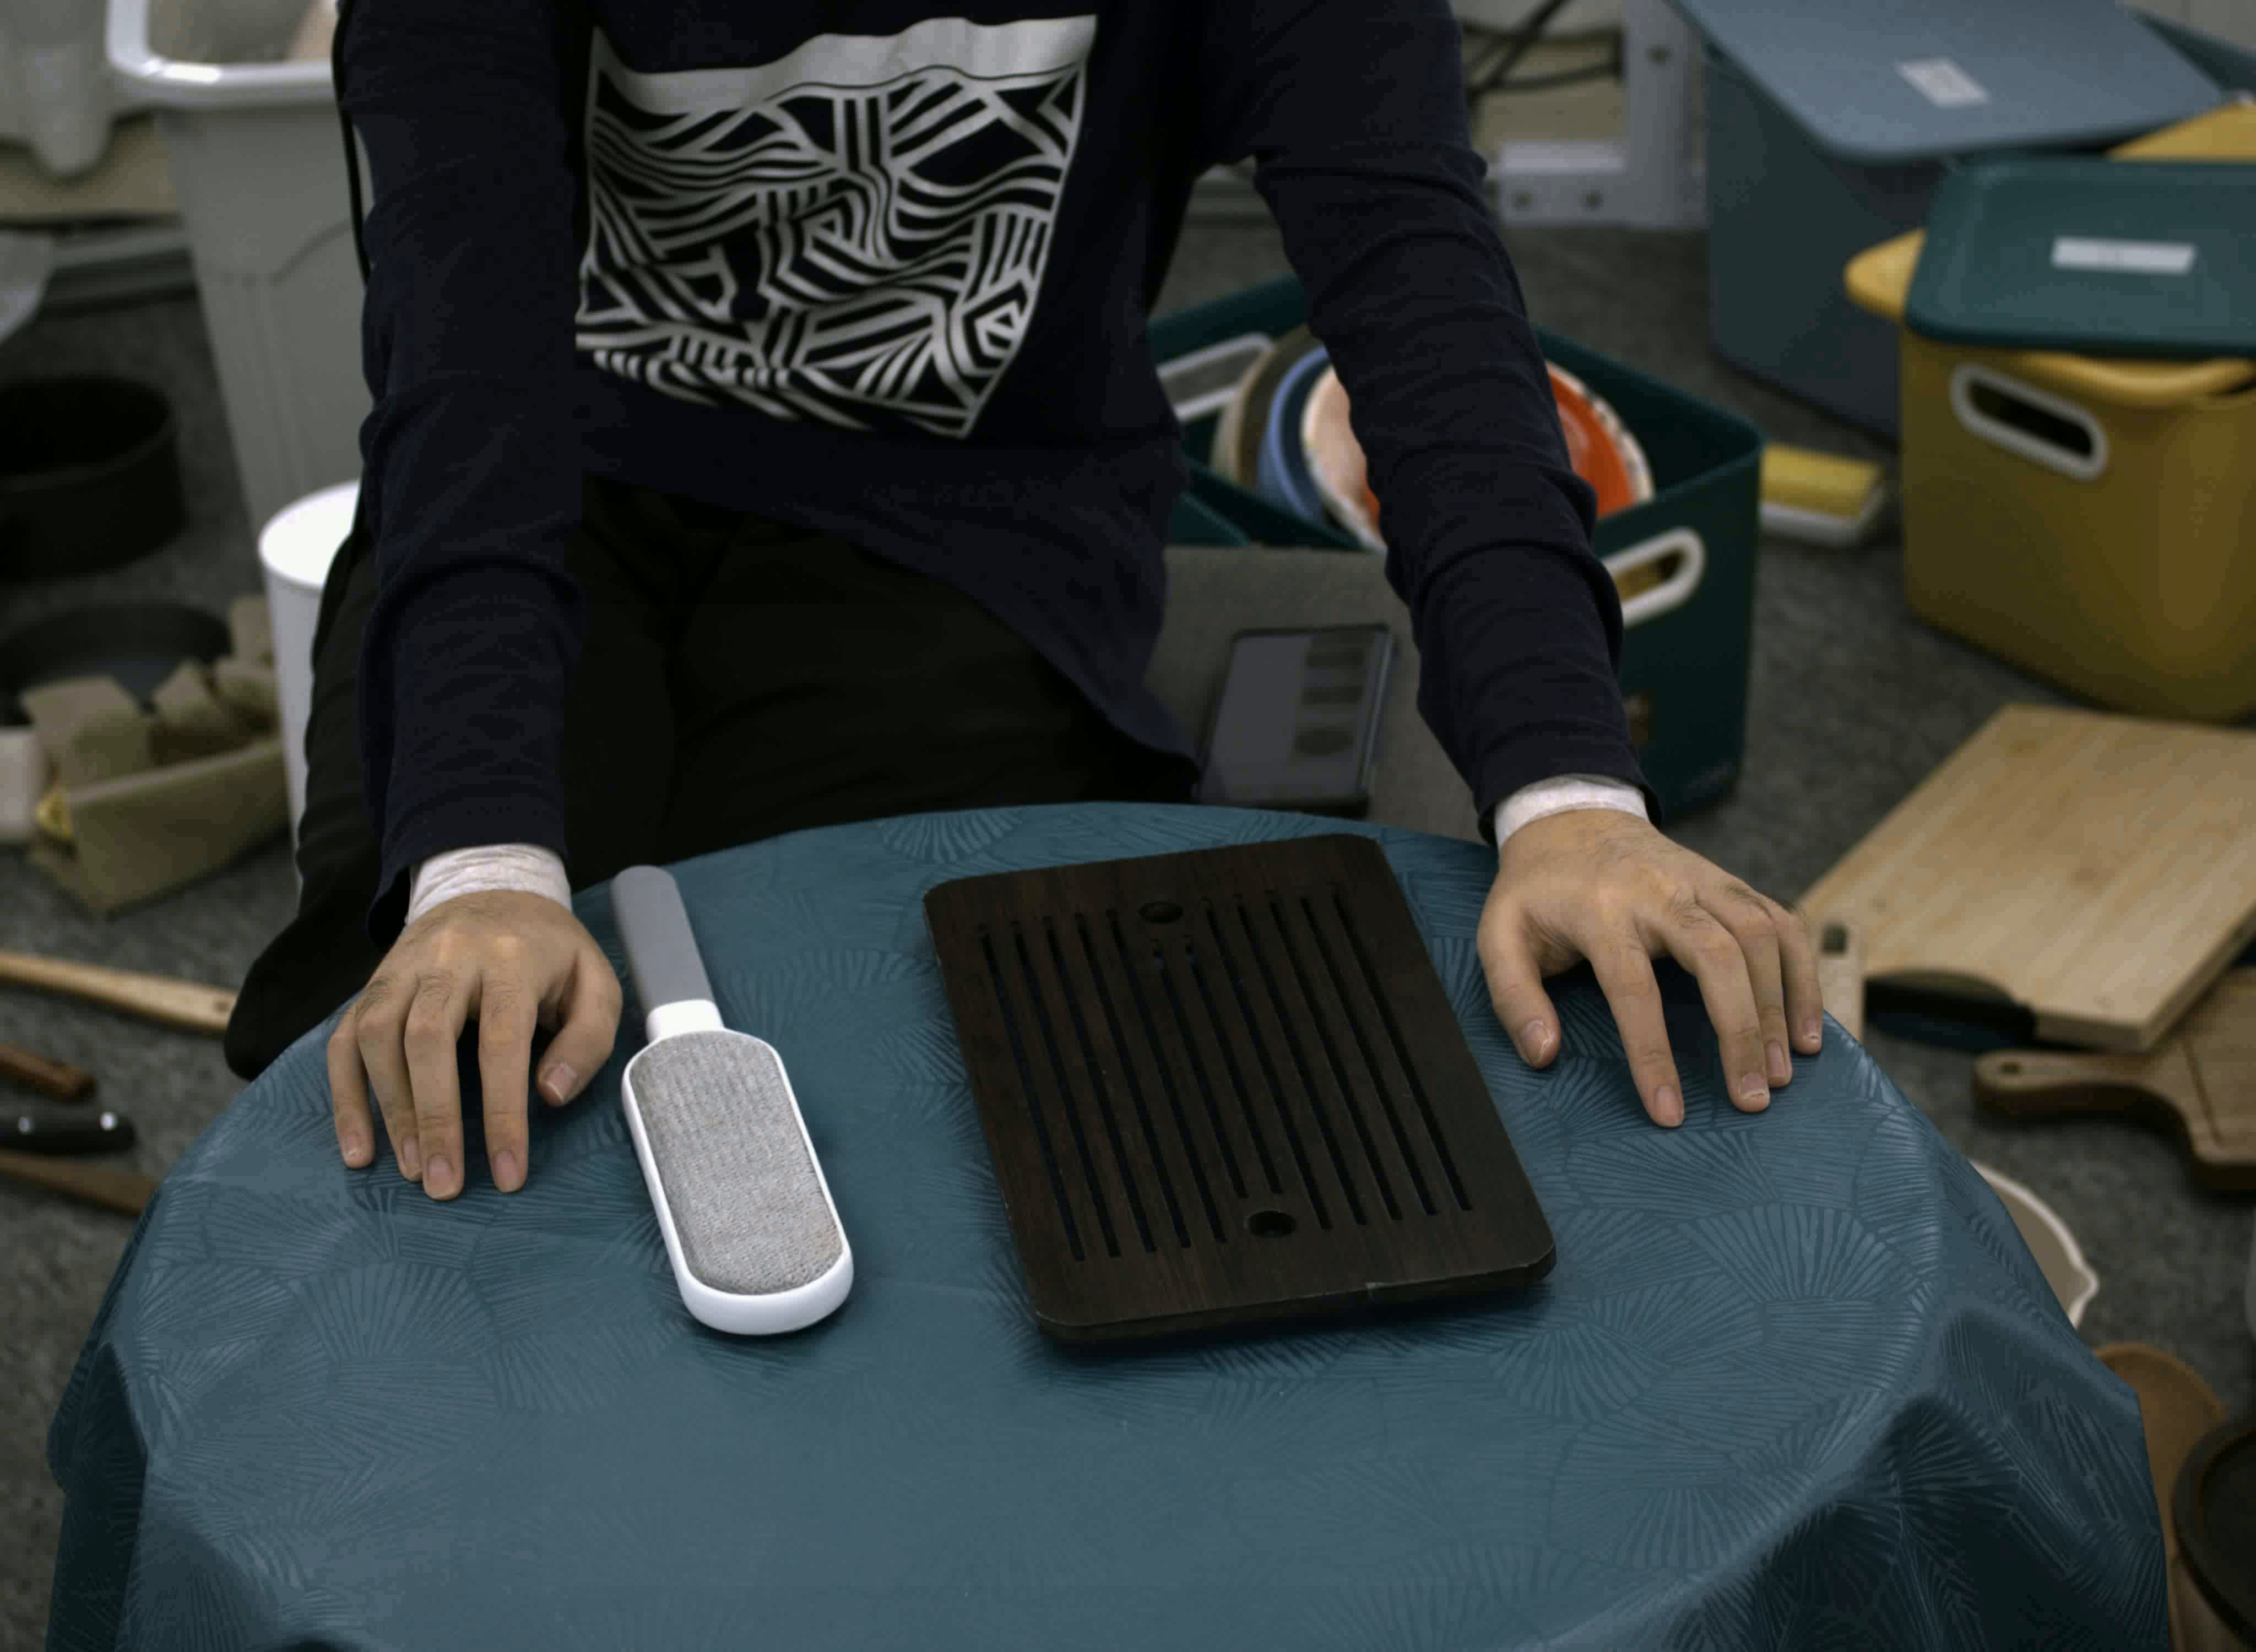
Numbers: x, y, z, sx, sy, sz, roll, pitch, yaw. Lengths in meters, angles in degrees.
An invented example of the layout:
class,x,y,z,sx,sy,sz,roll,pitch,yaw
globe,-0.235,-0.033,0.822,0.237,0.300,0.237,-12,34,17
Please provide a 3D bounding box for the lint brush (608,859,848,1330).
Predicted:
class,x,y,z,sx,sy,sz,roll,pitch,yaw
lint brush,-0.144,0.086,1.915,0.060,0.021,0.312,-13,28,-7

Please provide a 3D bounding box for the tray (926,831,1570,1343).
class,x,y,z,sx,sy,sz,roll,pitch,yaw
tray,0.034,0.086,1.909,0.170,0.018,0.309,-7,27,-8
